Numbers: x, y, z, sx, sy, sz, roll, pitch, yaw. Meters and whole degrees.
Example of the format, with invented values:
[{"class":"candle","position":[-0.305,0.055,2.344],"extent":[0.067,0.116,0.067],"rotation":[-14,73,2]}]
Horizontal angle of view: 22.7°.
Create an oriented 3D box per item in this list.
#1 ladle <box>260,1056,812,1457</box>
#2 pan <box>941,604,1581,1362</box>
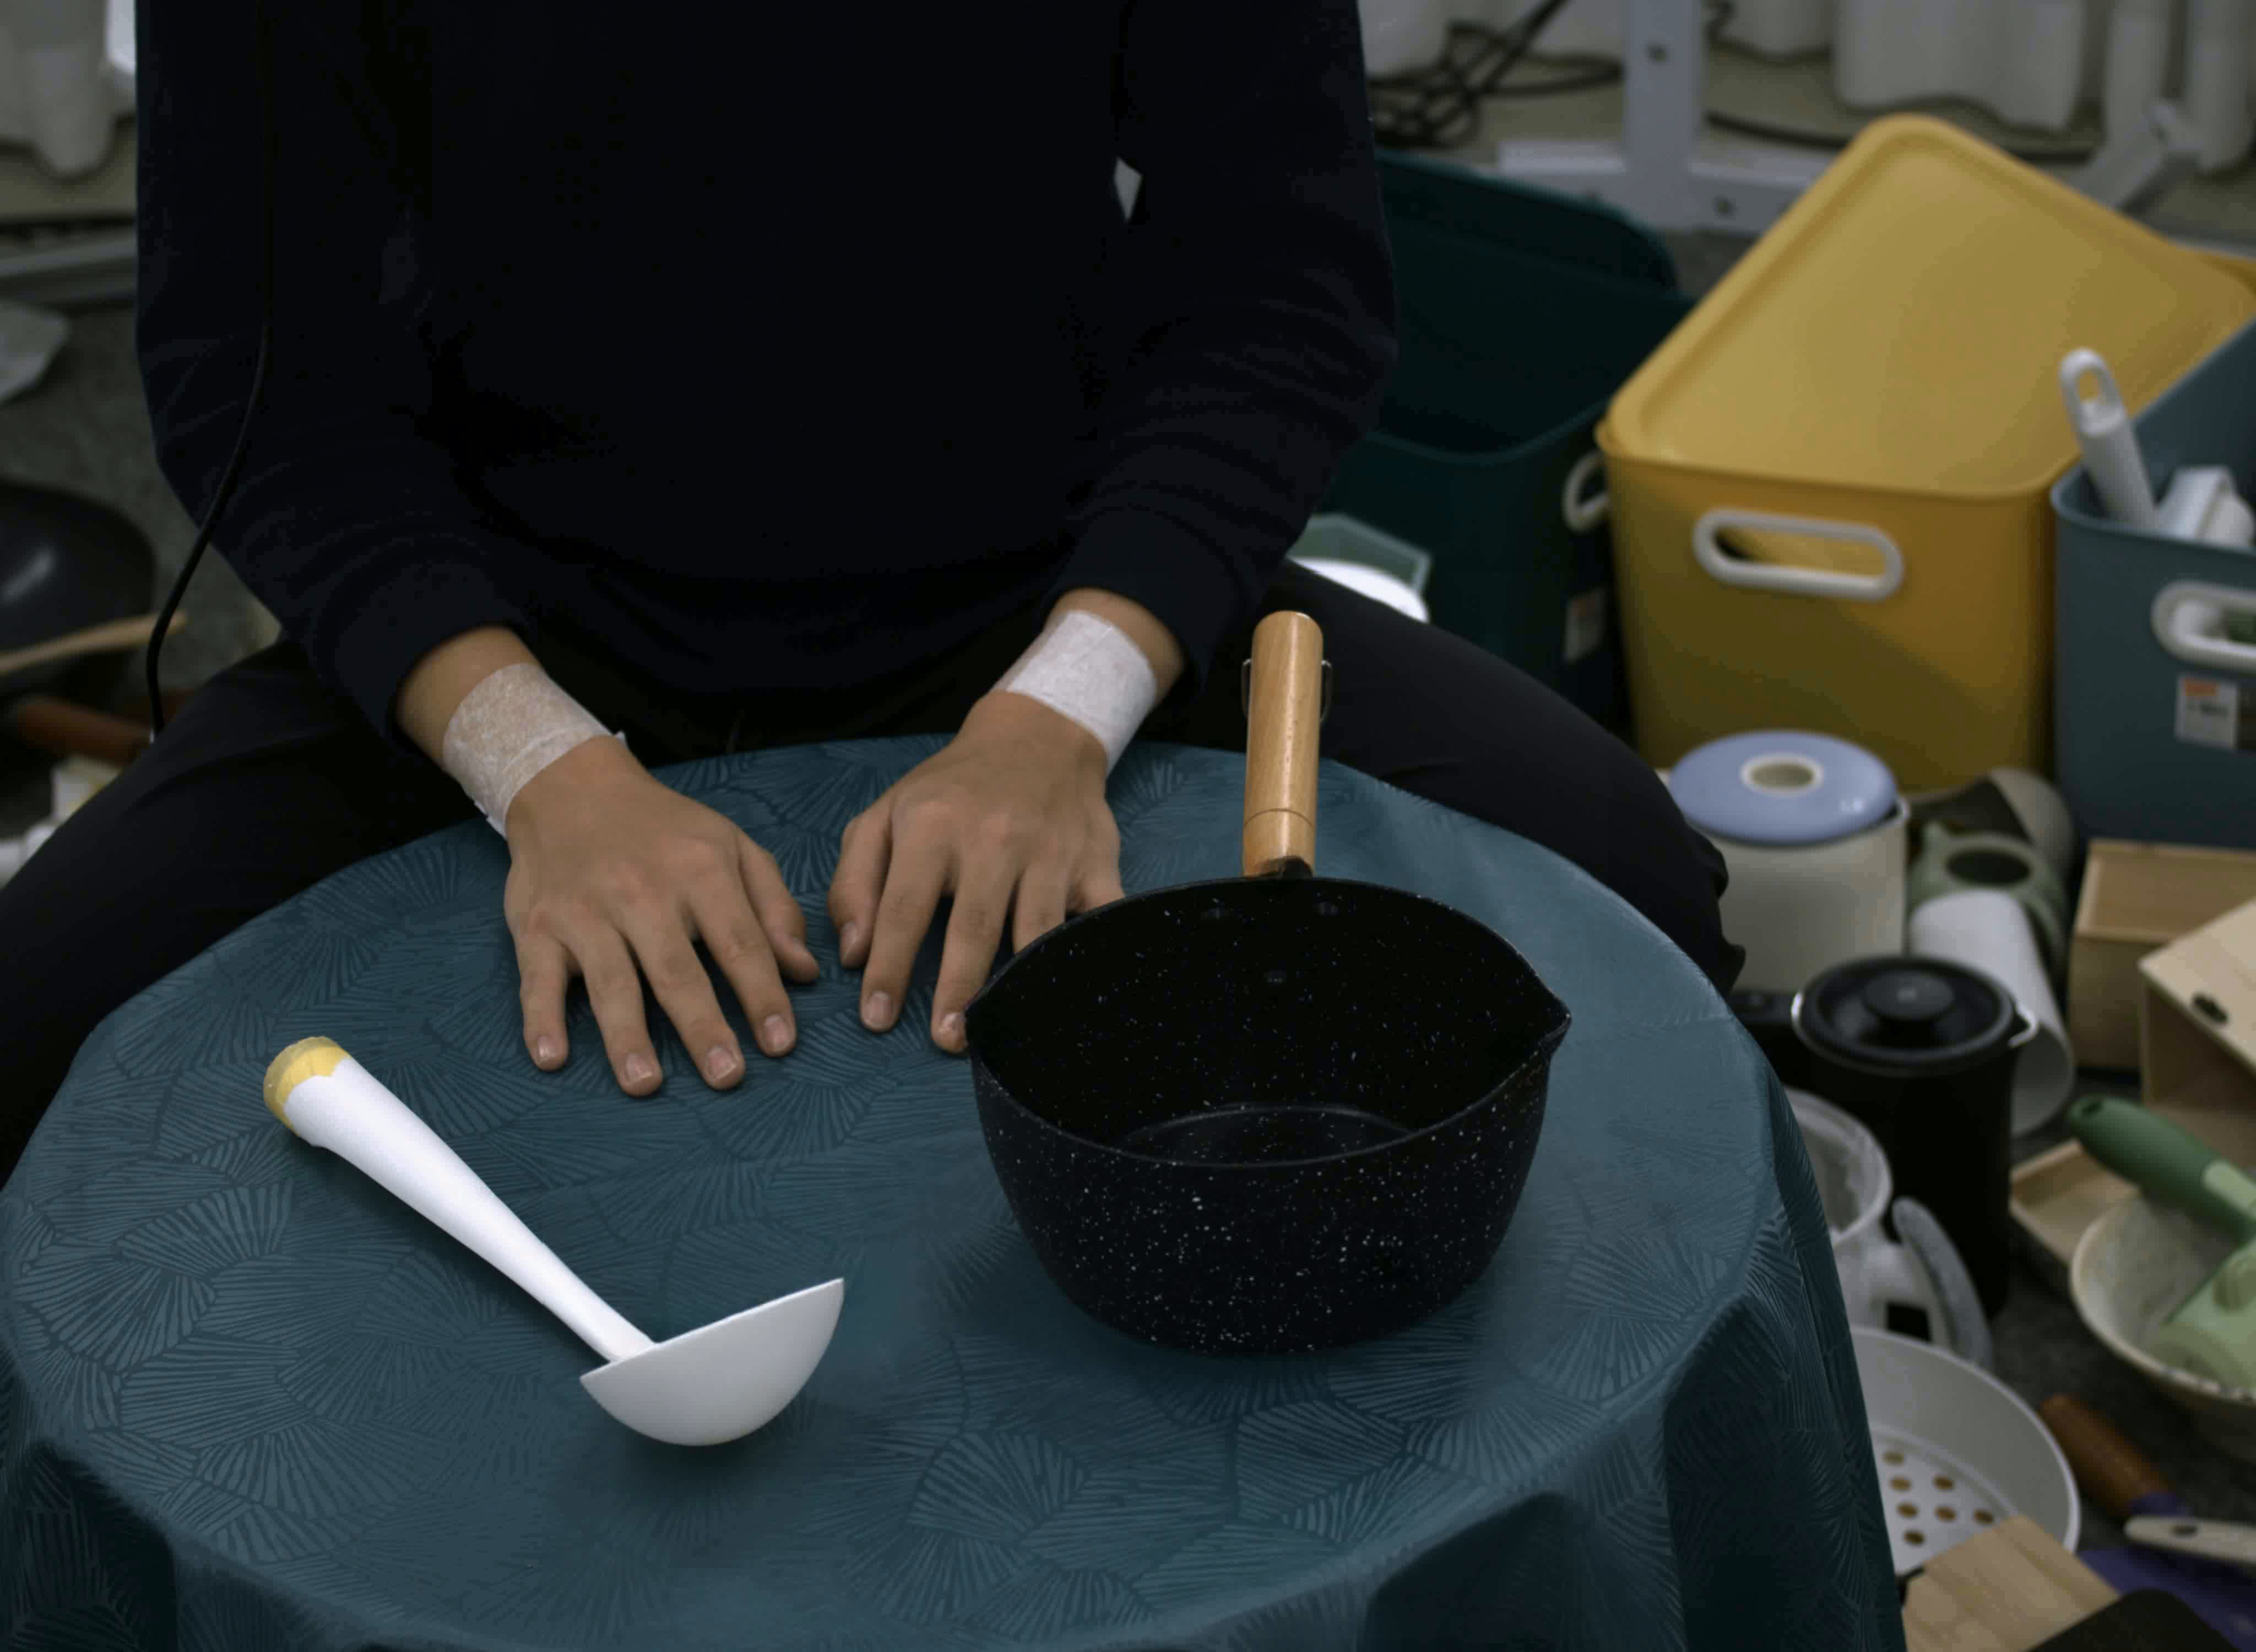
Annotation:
[{"class":"ladle","position":[-0.202,0.126,1.805],"extent":[0.091,0.069,0.293],"rotation":[-24,33,-27]},{"class":"pan","position":[0.047,0.049,1.882],"extent":[0.206,0.107,0.348],"rotation":[-2,29,4]}]
